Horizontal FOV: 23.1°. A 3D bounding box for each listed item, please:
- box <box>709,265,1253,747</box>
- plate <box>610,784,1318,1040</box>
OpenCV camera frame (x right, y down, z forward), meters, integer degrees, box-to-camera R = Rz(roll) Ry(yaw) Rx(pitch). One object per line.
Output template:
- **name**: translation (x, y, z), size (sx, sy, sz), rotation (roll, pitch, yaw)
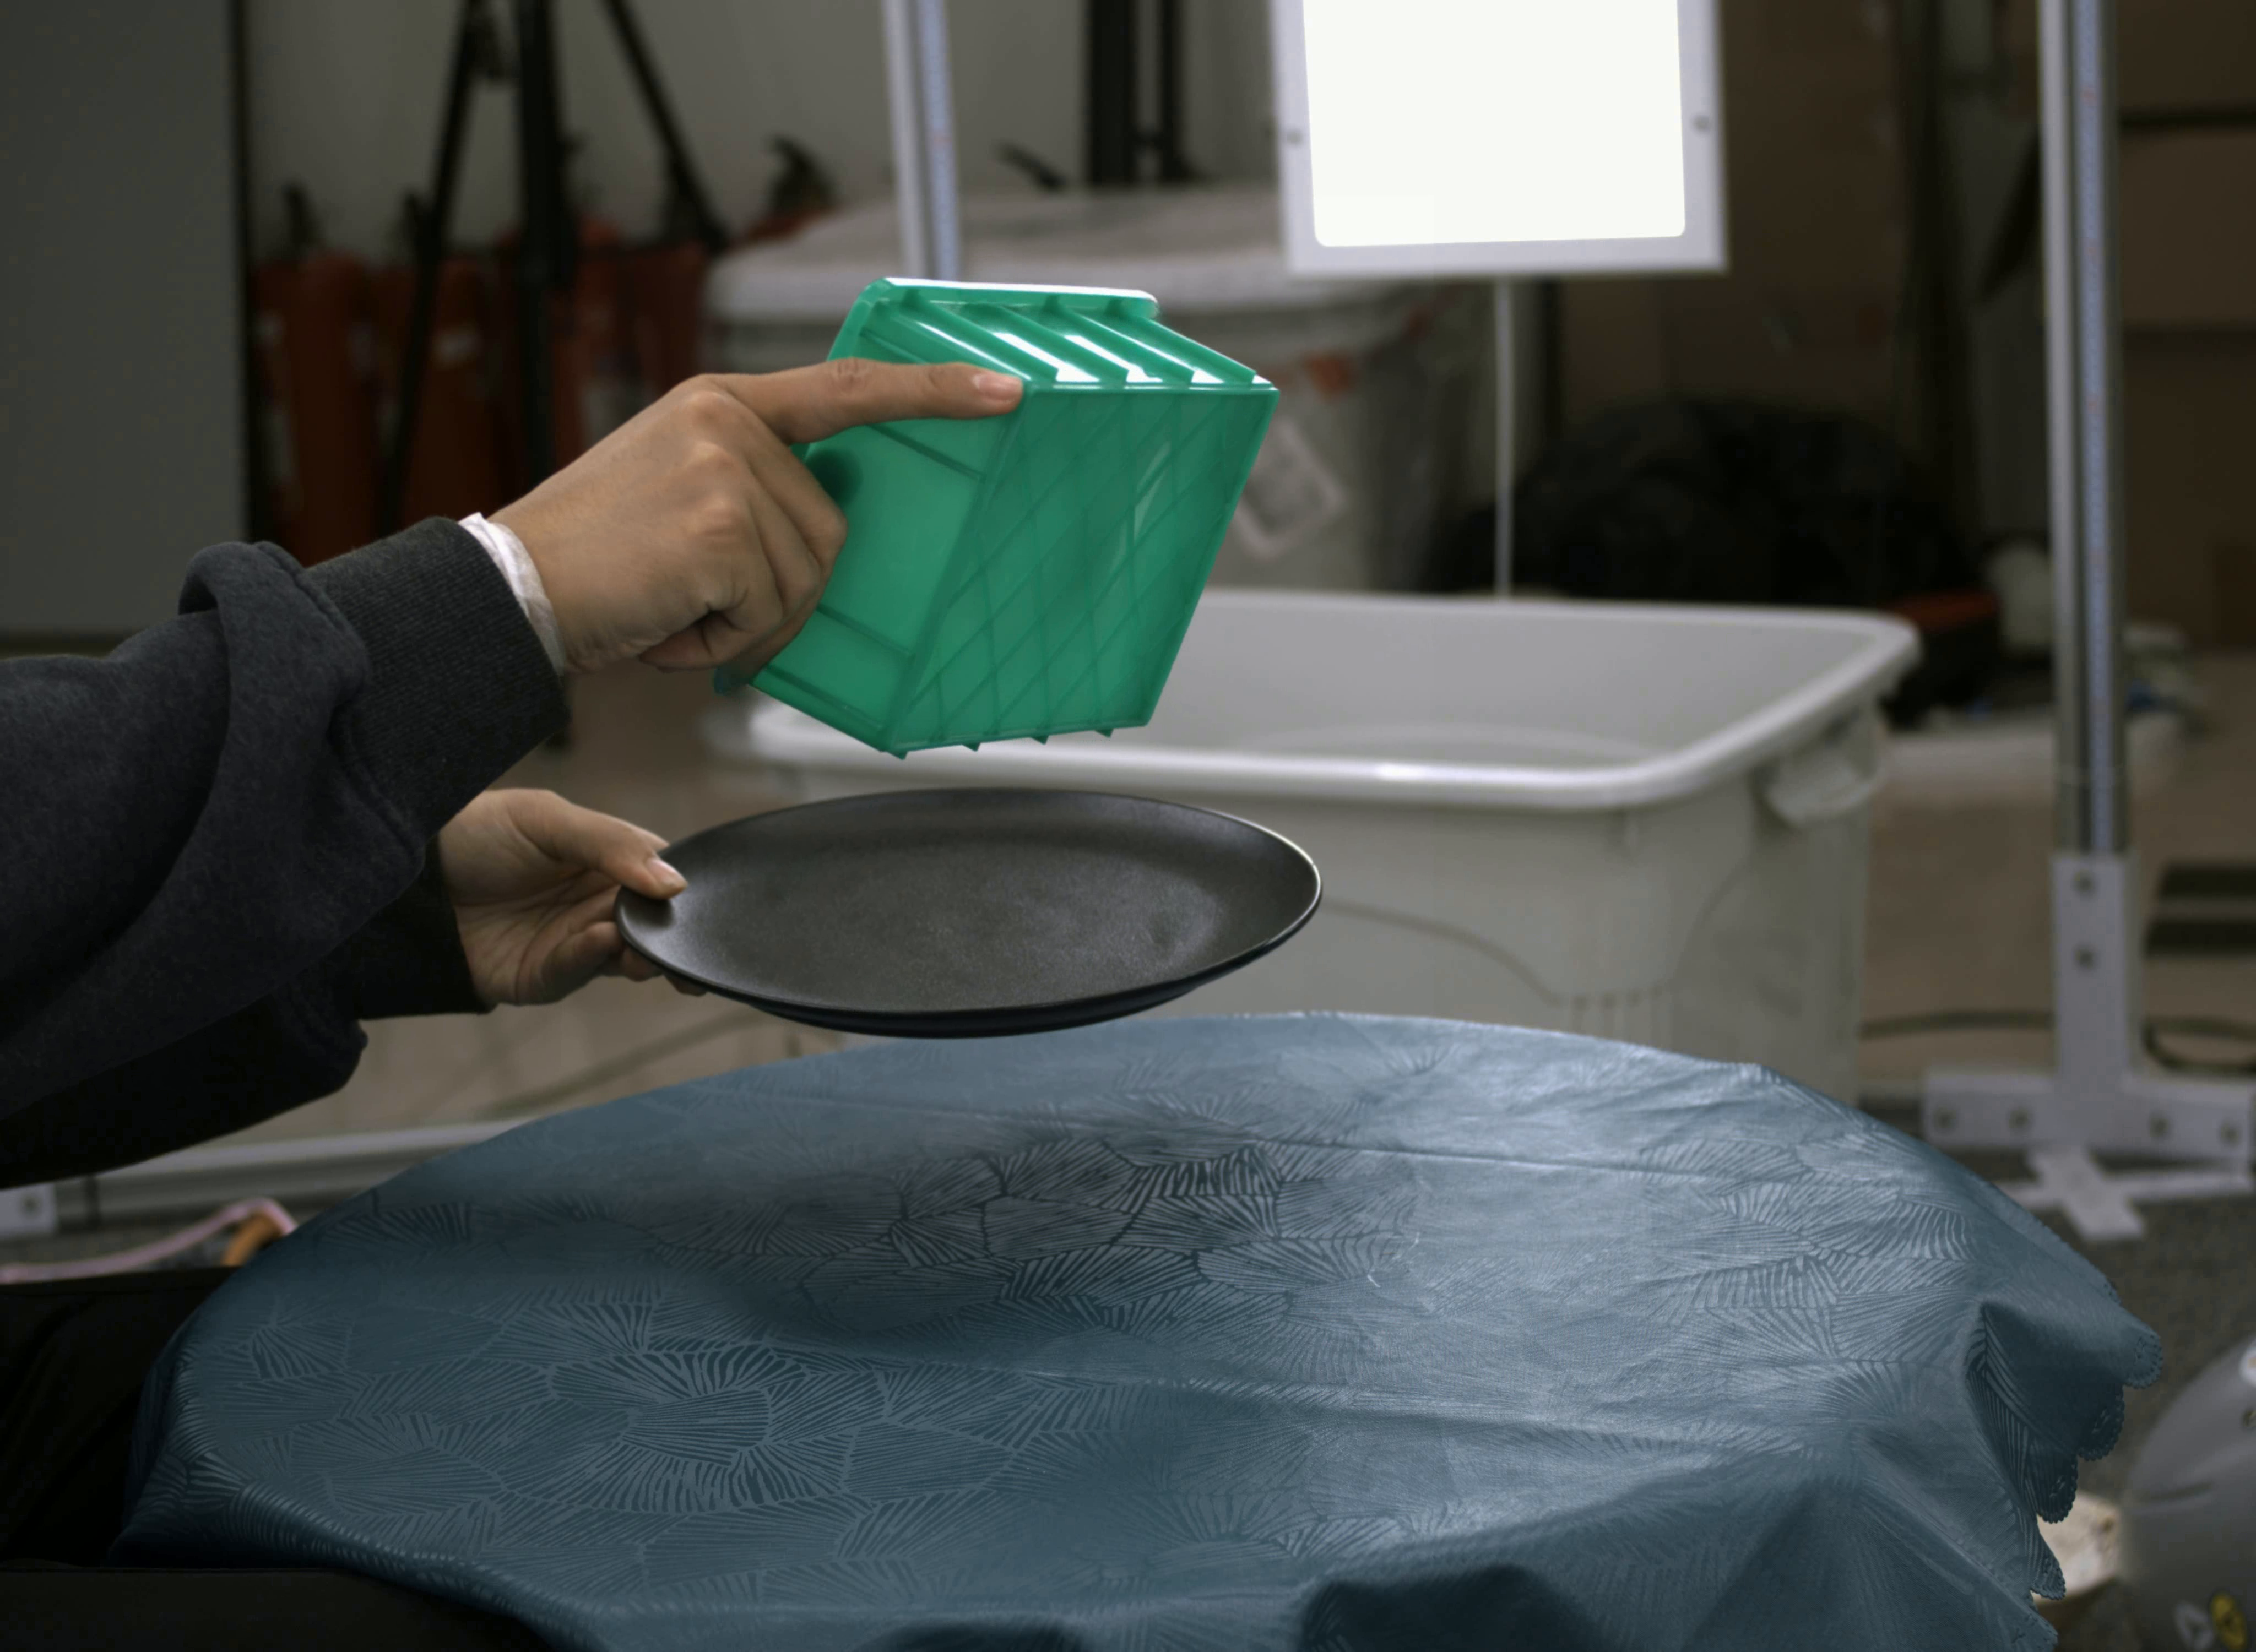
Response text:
- **box**: translation (-0.038, -0.095, 1.686), size (0.066, 0.140, 0.206), rotation (26, 13, 18)
- **plate**: translation (-0.056, 0.032, 1.886), size (0.243, 0.023, 0.244), rotation (-3, 18, -1)
